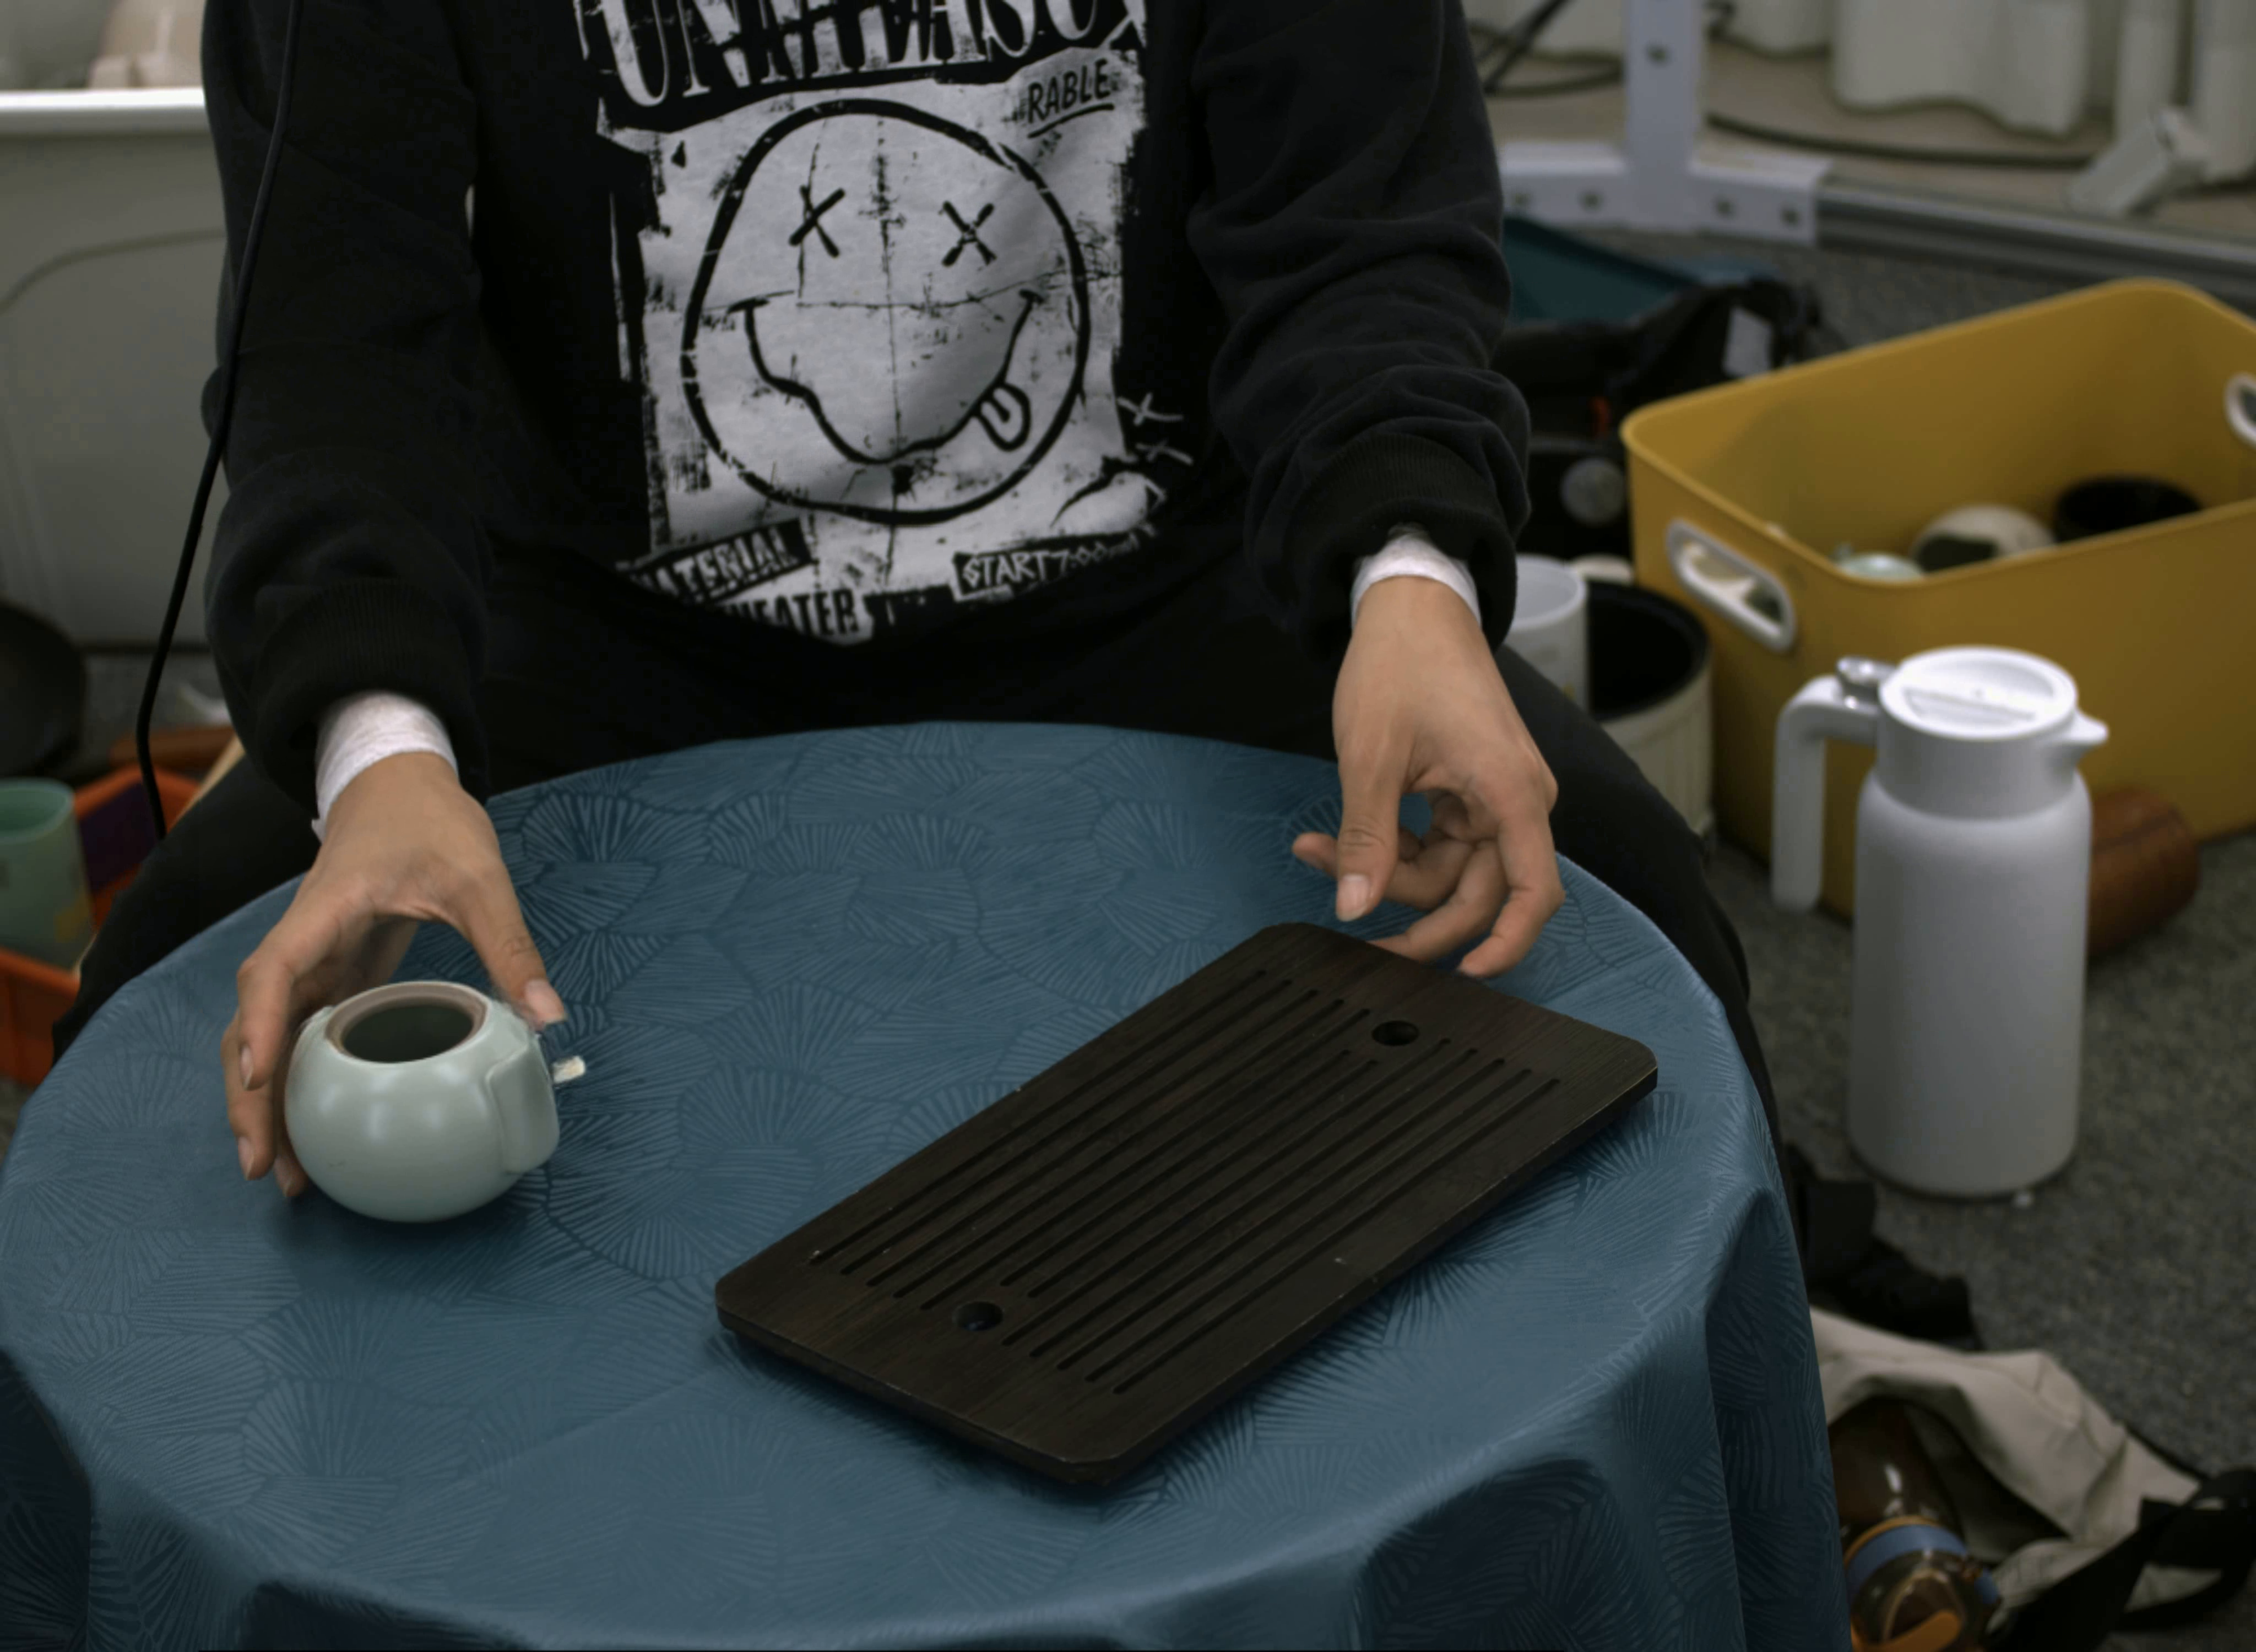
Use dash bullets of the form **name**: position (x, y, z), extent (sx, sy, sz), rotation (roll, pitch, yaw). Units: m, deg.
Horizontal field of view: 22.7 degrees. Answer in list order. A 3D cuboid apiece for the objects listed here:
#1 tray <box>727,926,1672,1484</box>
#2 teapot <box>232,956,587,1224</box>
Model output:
- **tray**: position (0.028, 0.121, 1.838), extent (0.169, 0.018, 0.310), rotation (19, 34, 36)
- **teapot**: position (-0.236, 0.091, 1.863), extent (0.143, 0.074, 0.090), rotation (15, 32, 29)
